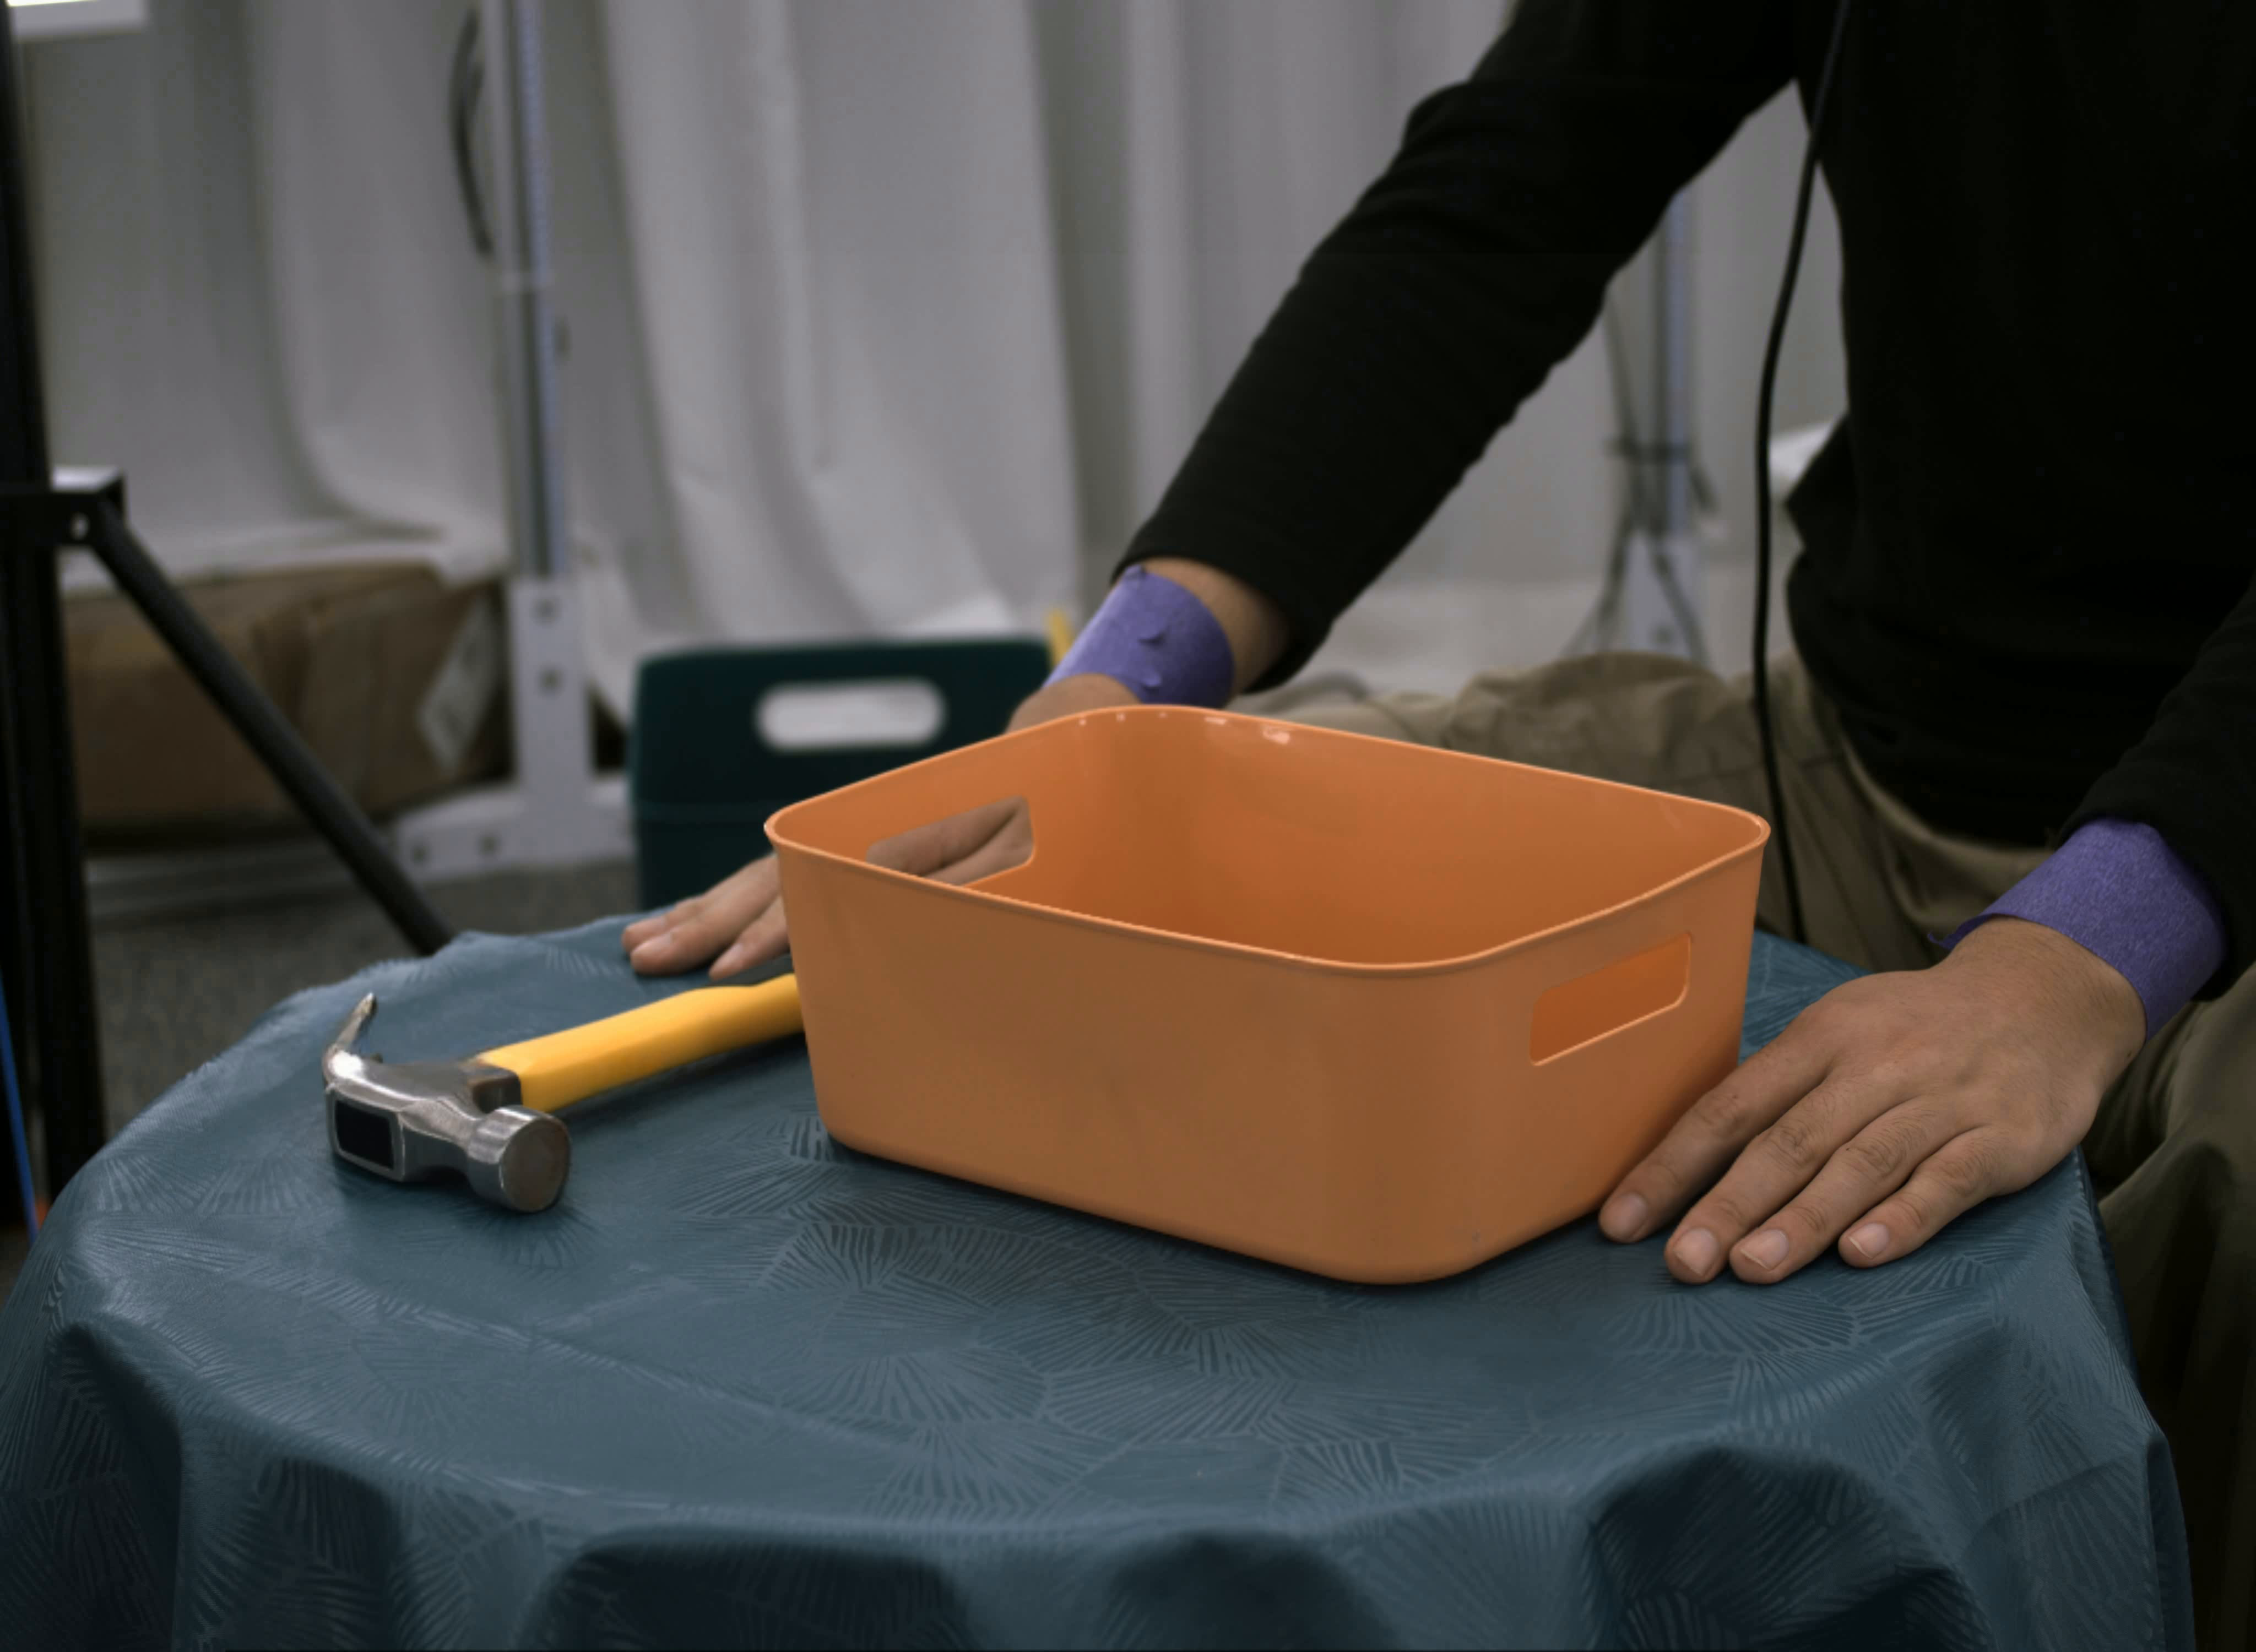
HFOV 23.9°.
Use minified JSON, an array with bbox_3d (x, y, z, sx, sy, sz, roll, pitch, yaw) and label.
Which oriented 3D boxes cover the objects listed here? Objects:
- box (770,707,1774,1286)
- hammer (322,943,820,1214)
[{"bbox_3d":[0.042,0.047,1.576,0.279,0.102,0.195,12,21,41],"label":"box"},{"bbox_3d":[-0.112,0.052,1.705,0.331,0.032,0.134,-18,22,-41],"label":"hammer"}]
